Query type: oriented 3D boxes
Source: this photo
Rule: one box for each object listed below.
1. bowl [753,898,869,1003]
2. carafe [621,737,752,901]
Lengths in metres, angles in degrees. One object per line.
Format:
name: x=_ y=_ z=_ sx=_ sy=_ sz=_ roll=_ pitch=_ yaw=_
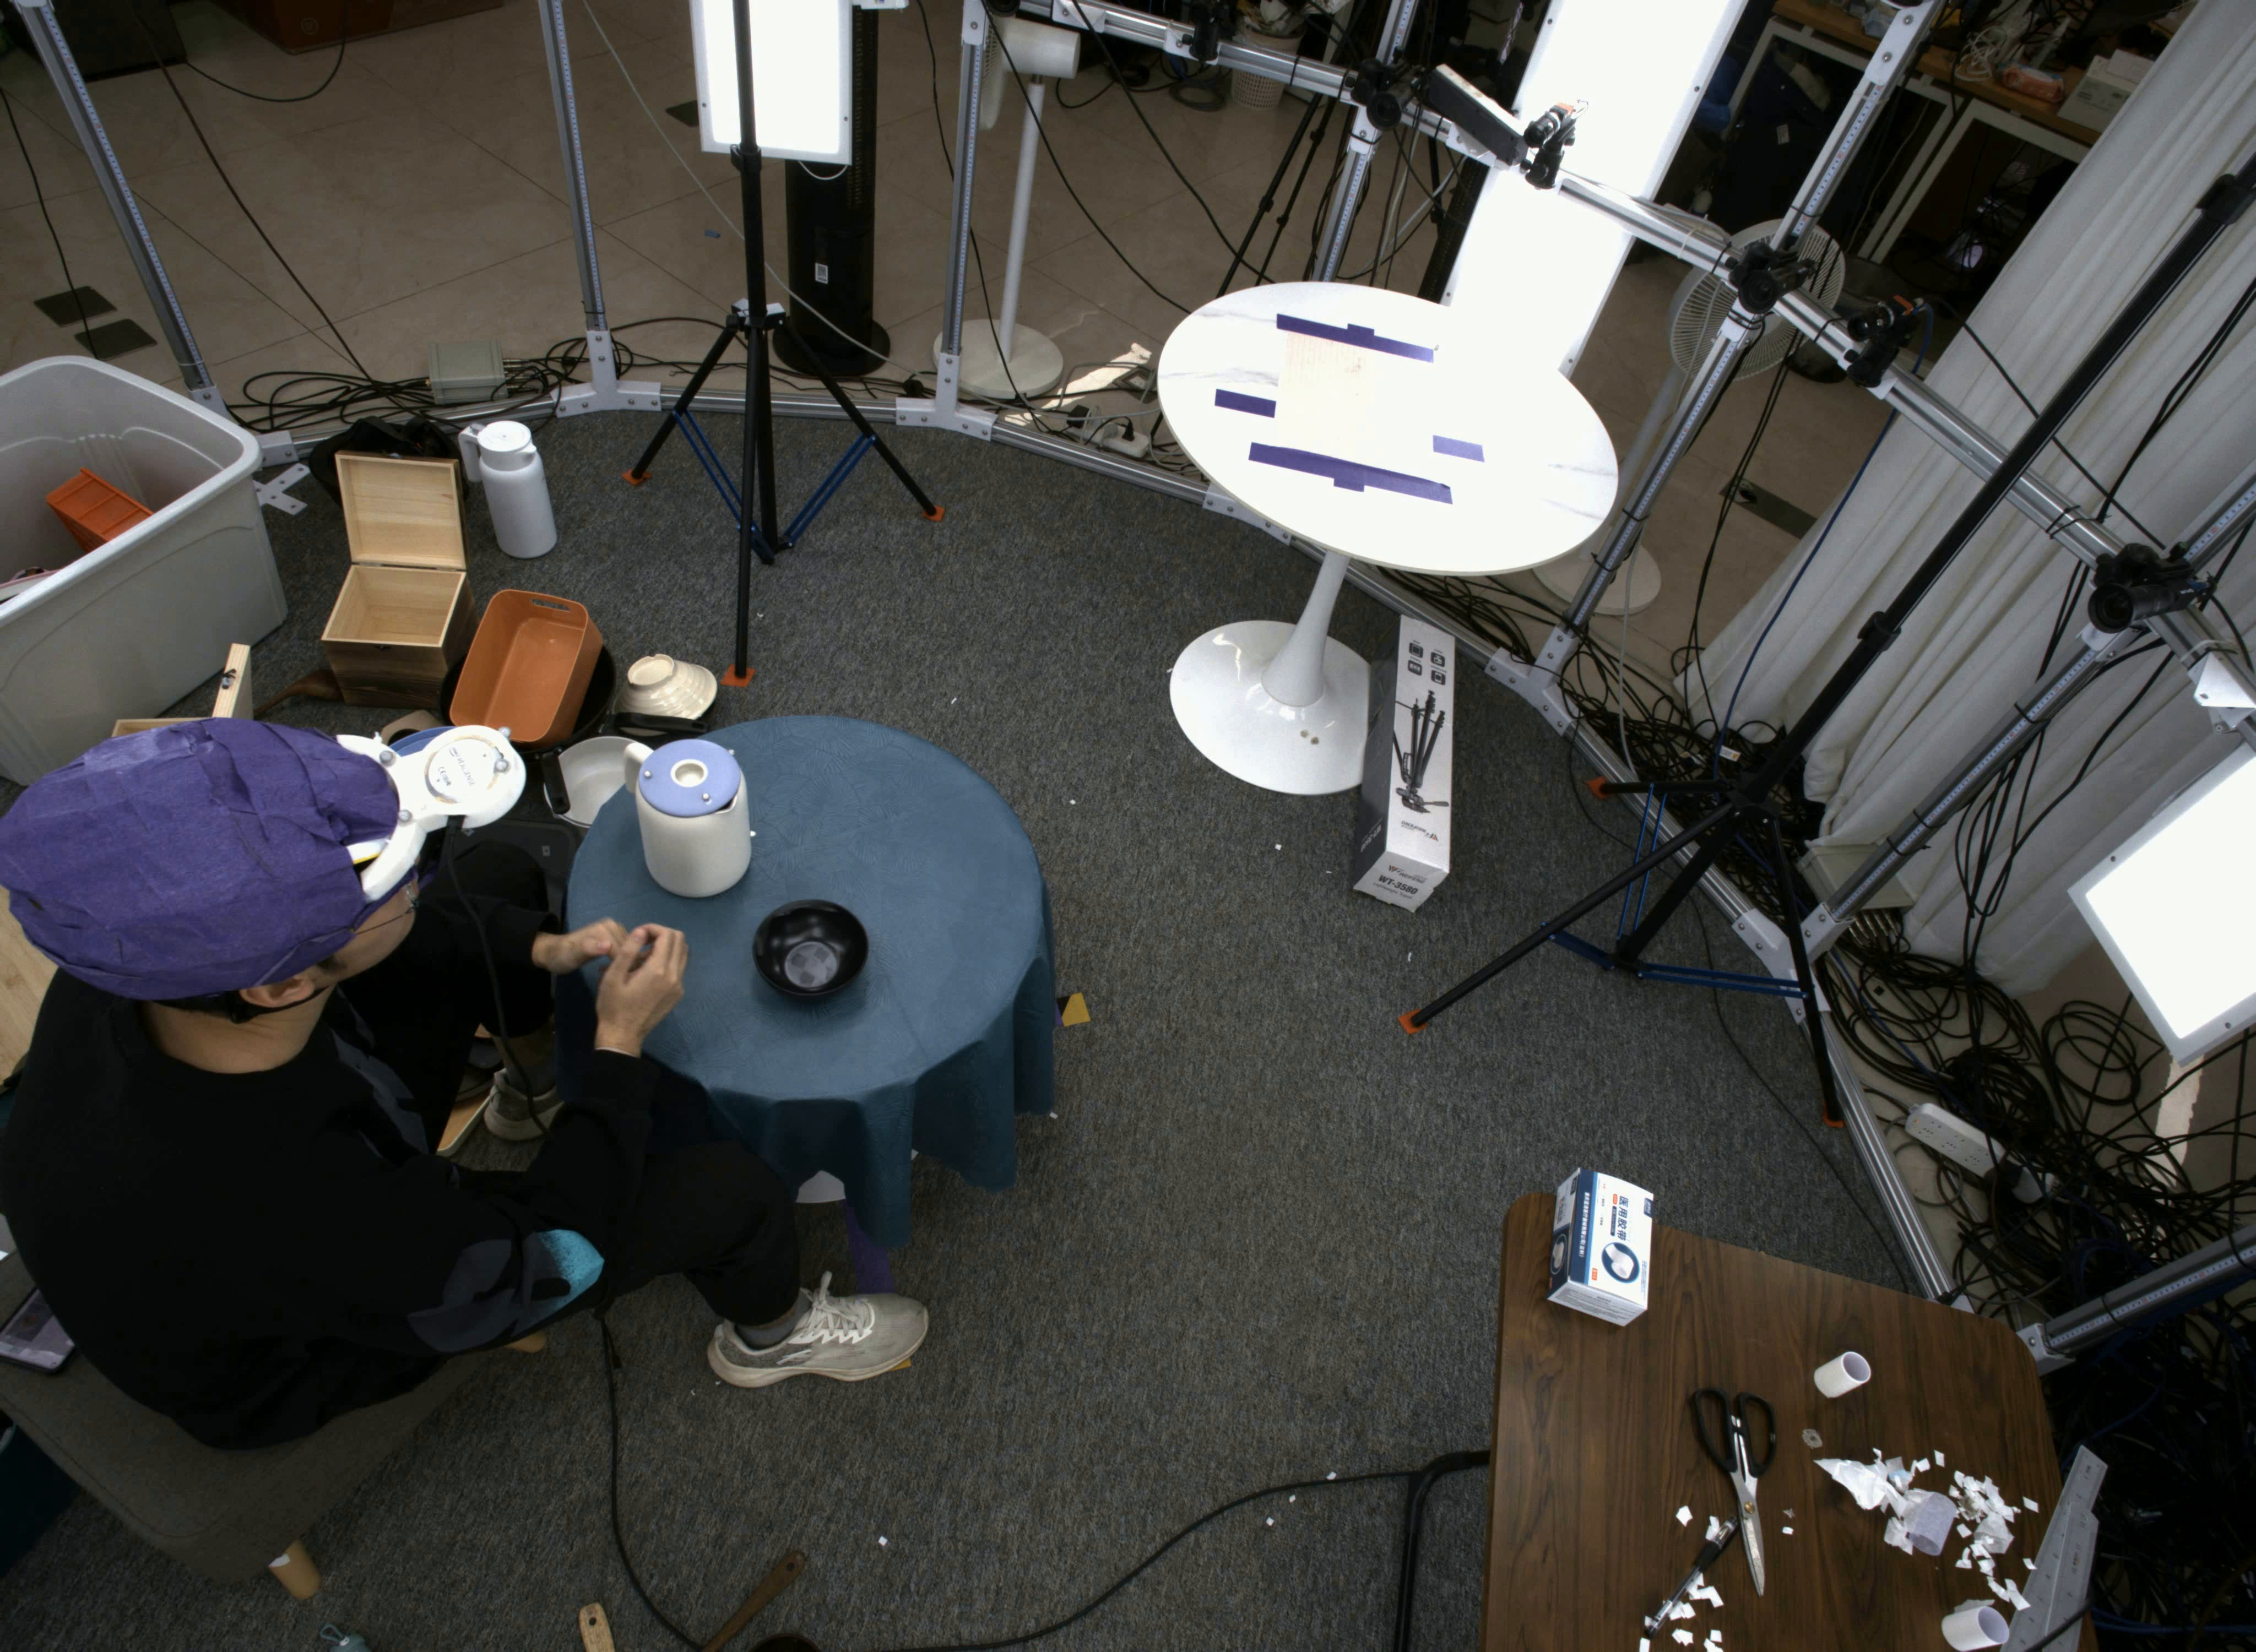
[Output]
bowl: x=-0.388 y=0.158 z=1.592 sx=0.140 sy=0.051 sz=0.138 roll=7 pitch=55 yaw=-8
carafe: x=-0.558 y=-0.022 z=1.600 sx=0.187 sy=0.187 sz=0.132 roll=30 pitch=51 yaw=13
